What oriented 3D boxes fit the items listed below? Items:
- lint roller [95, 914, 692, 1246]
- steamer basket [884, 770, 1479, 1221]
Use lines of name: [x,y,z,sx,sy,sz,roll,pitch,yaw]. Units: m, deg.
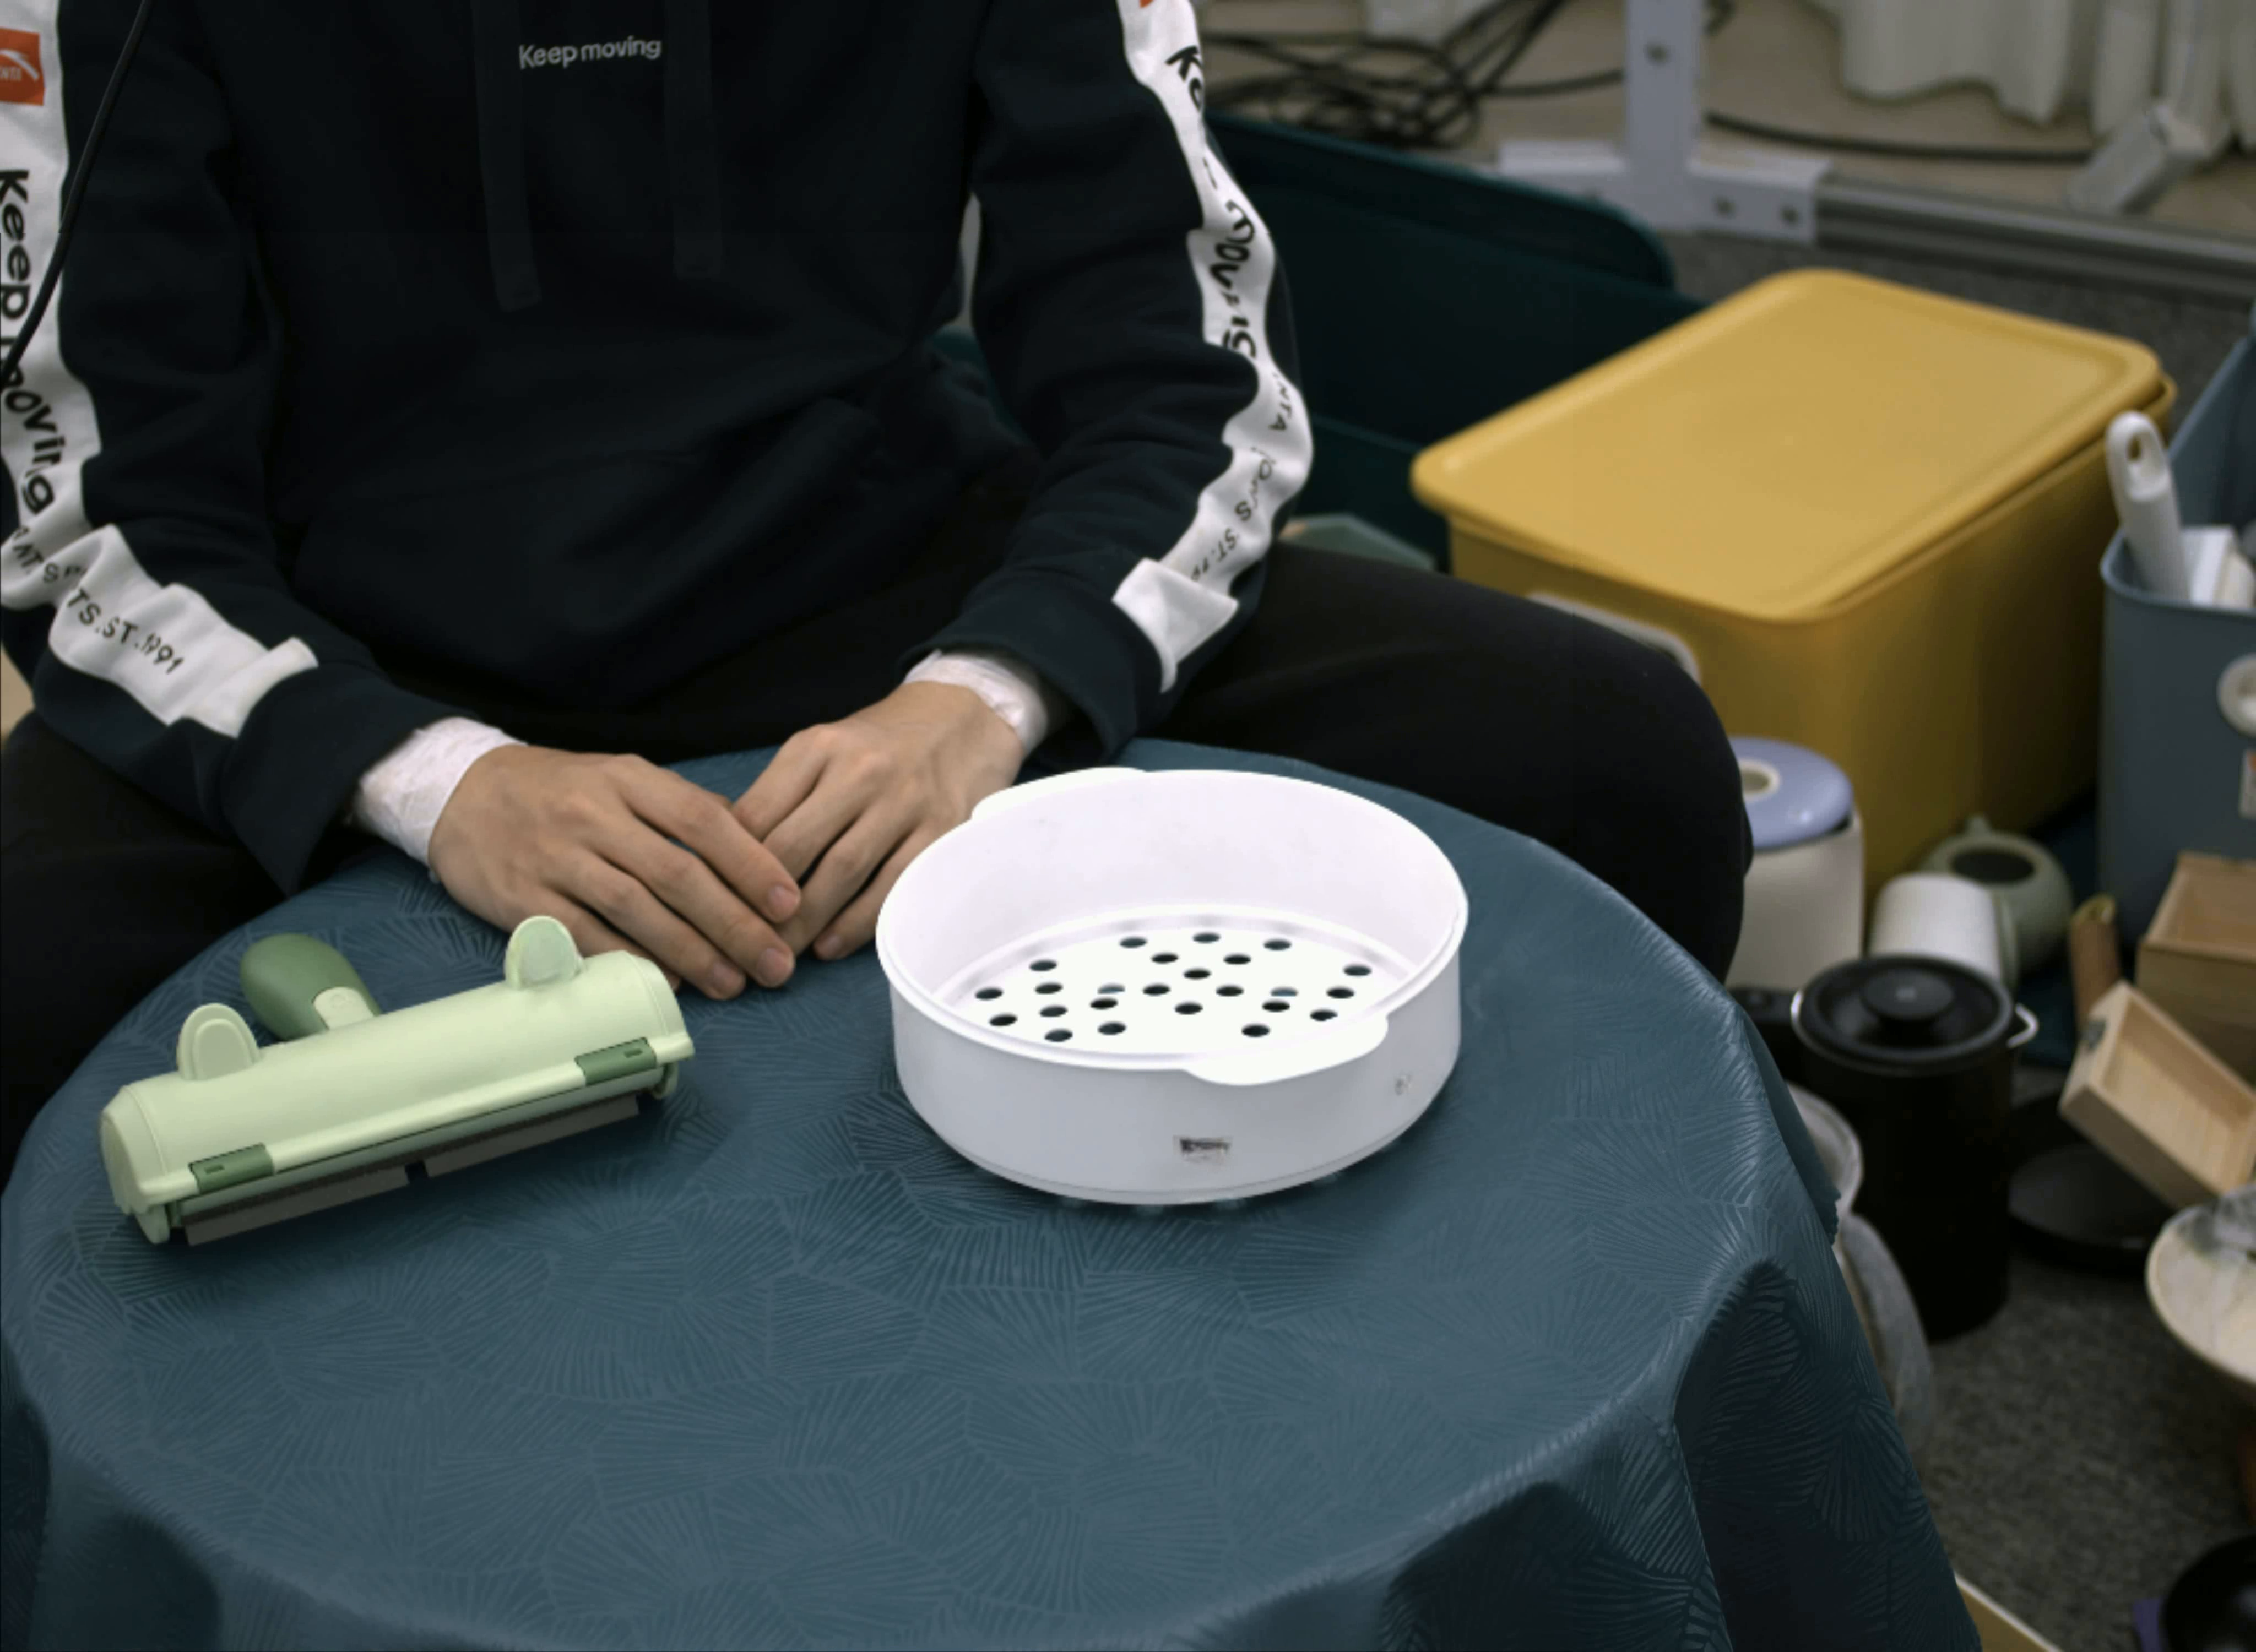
lint roller: [-0.270,0.060,1.924,0.199,0.081,0.185,-15,34,-22]
steamer basket: [0.019,0.058,1.907,0.202,0.068,0.232,-14,31,-19]
